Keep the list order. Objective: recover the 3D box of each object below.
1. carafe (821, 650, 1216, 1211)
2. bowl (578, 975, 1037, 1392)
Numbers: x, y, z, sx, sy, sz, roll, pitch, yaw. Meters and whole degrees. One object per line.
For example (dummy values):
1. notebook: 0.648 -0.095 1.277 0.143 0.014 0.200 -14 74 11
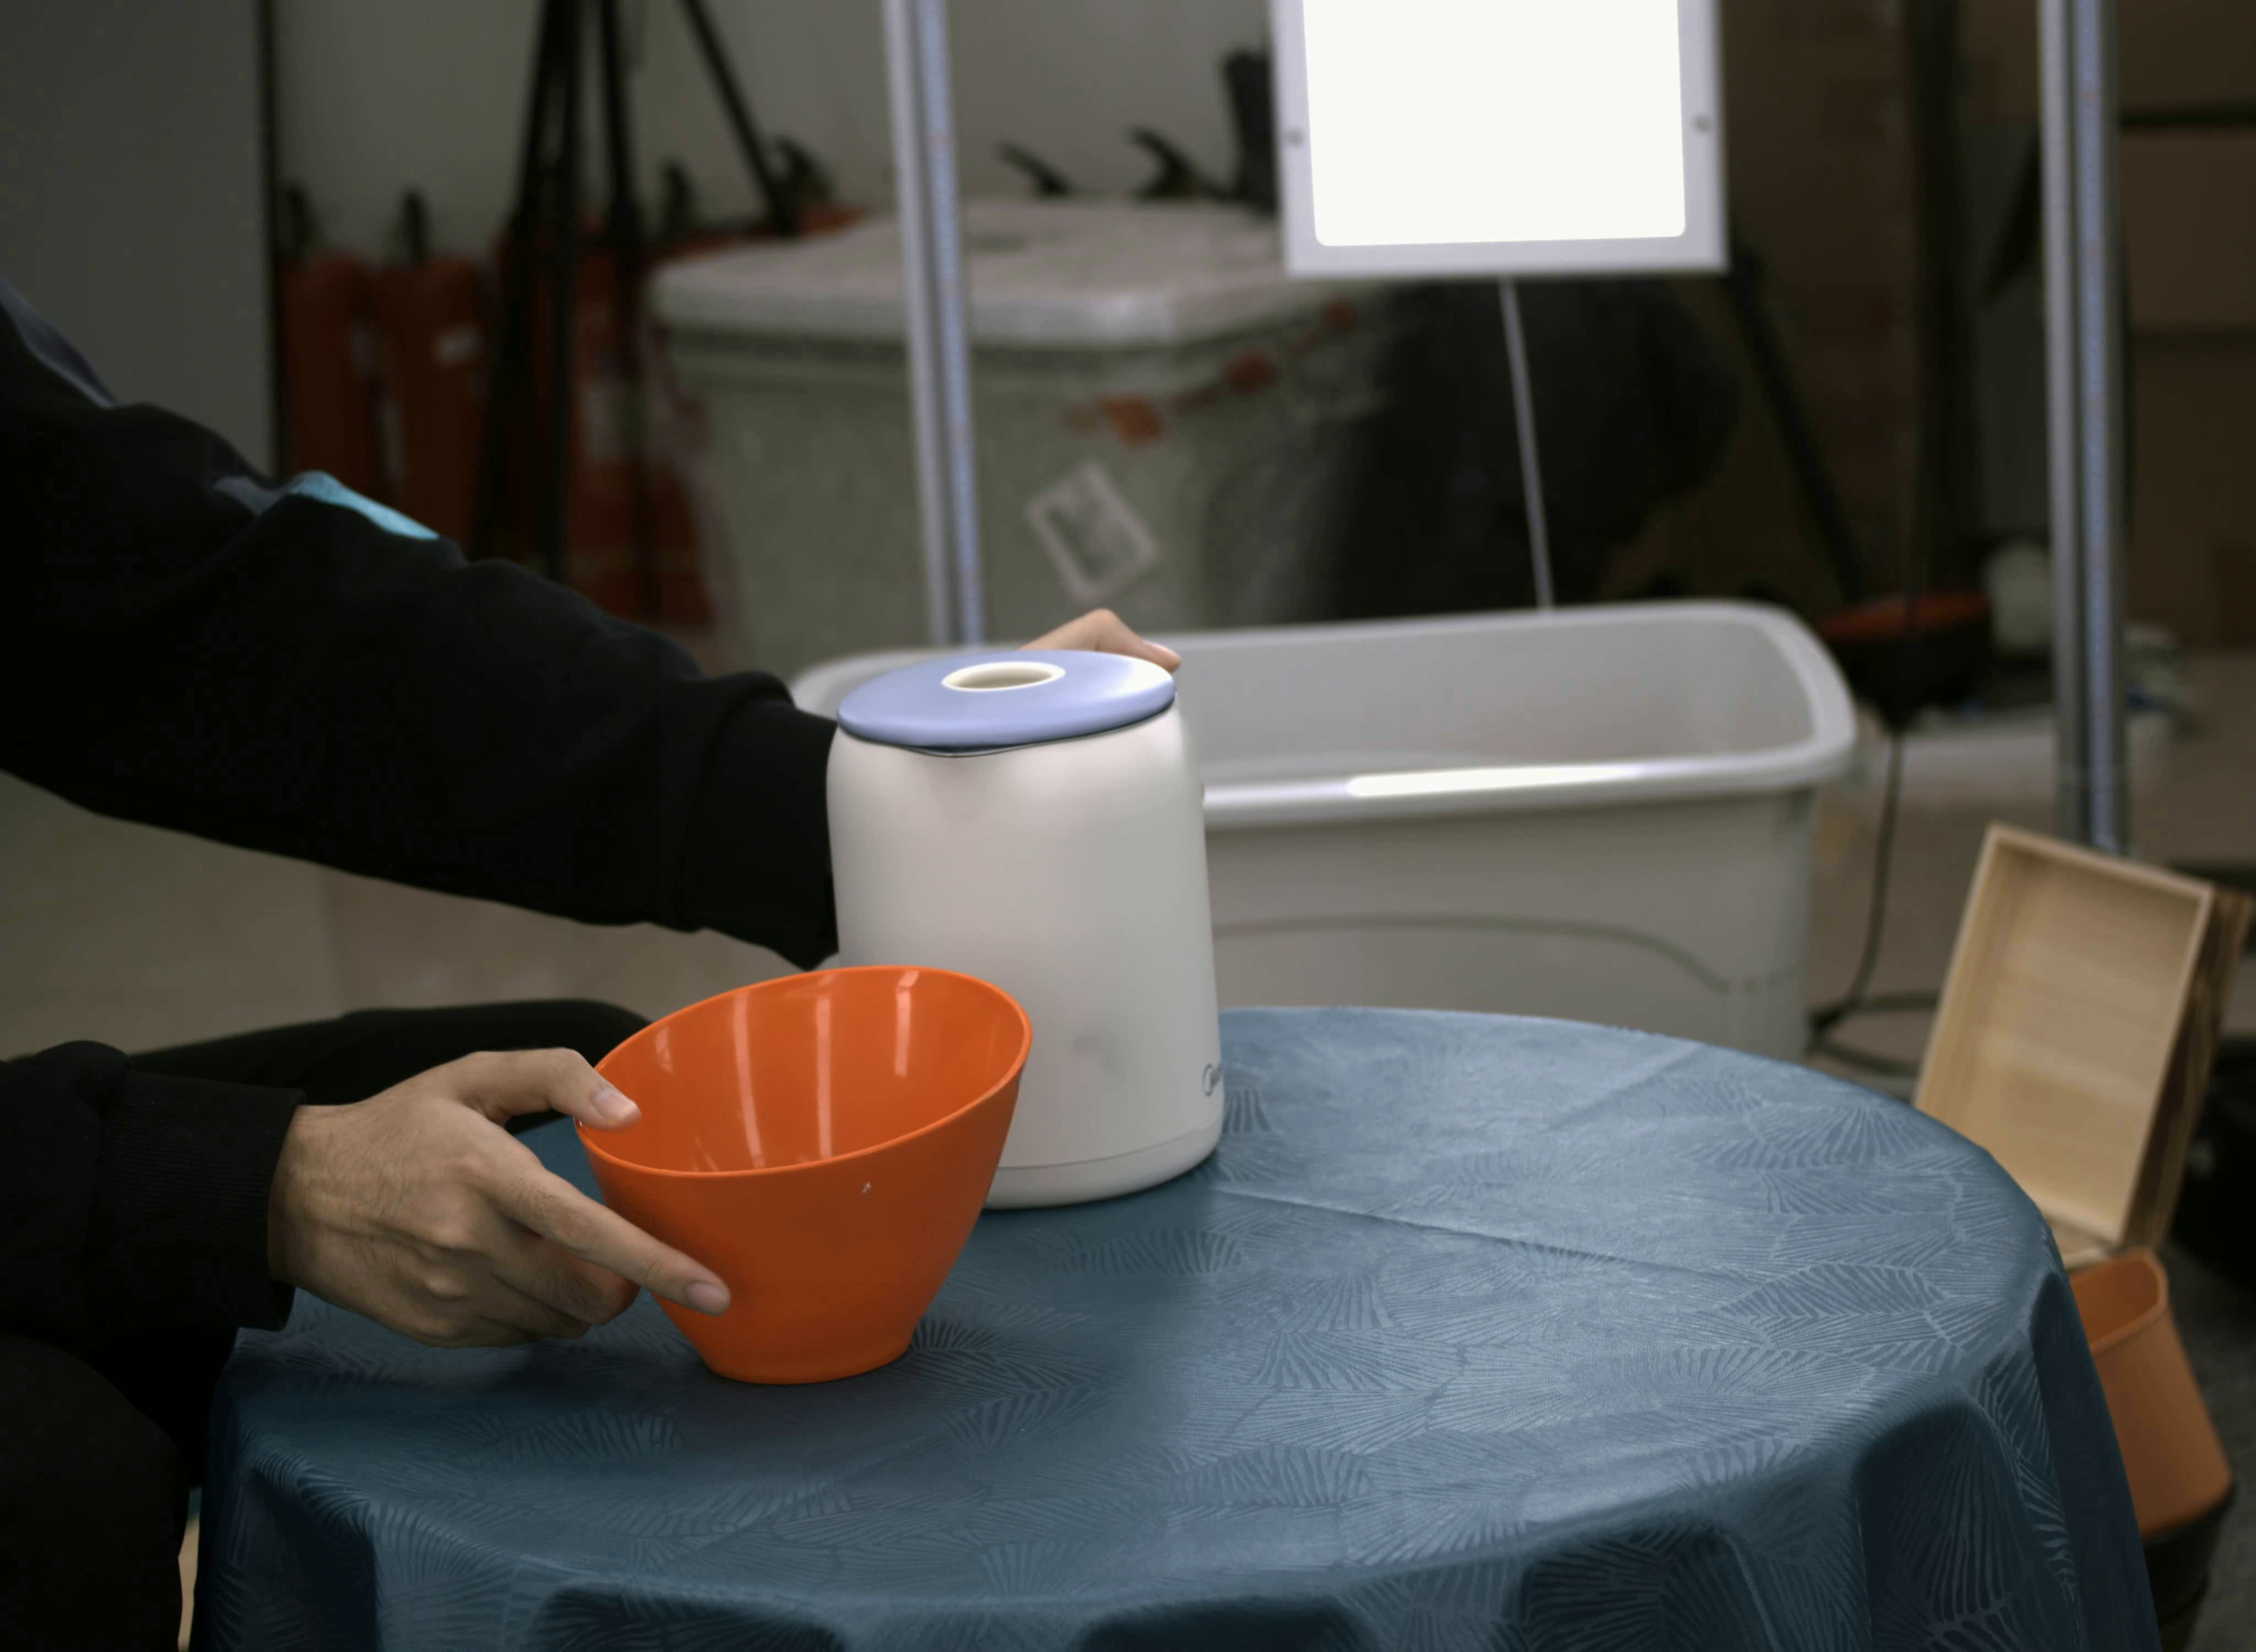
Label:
1. carafe: -0.033 0.030 1.943 0.133 0.183 0.189 0 12 13
2. bowl: -0.099 0.117 1.758 0.147 0.105 0.148 -5 14 0
